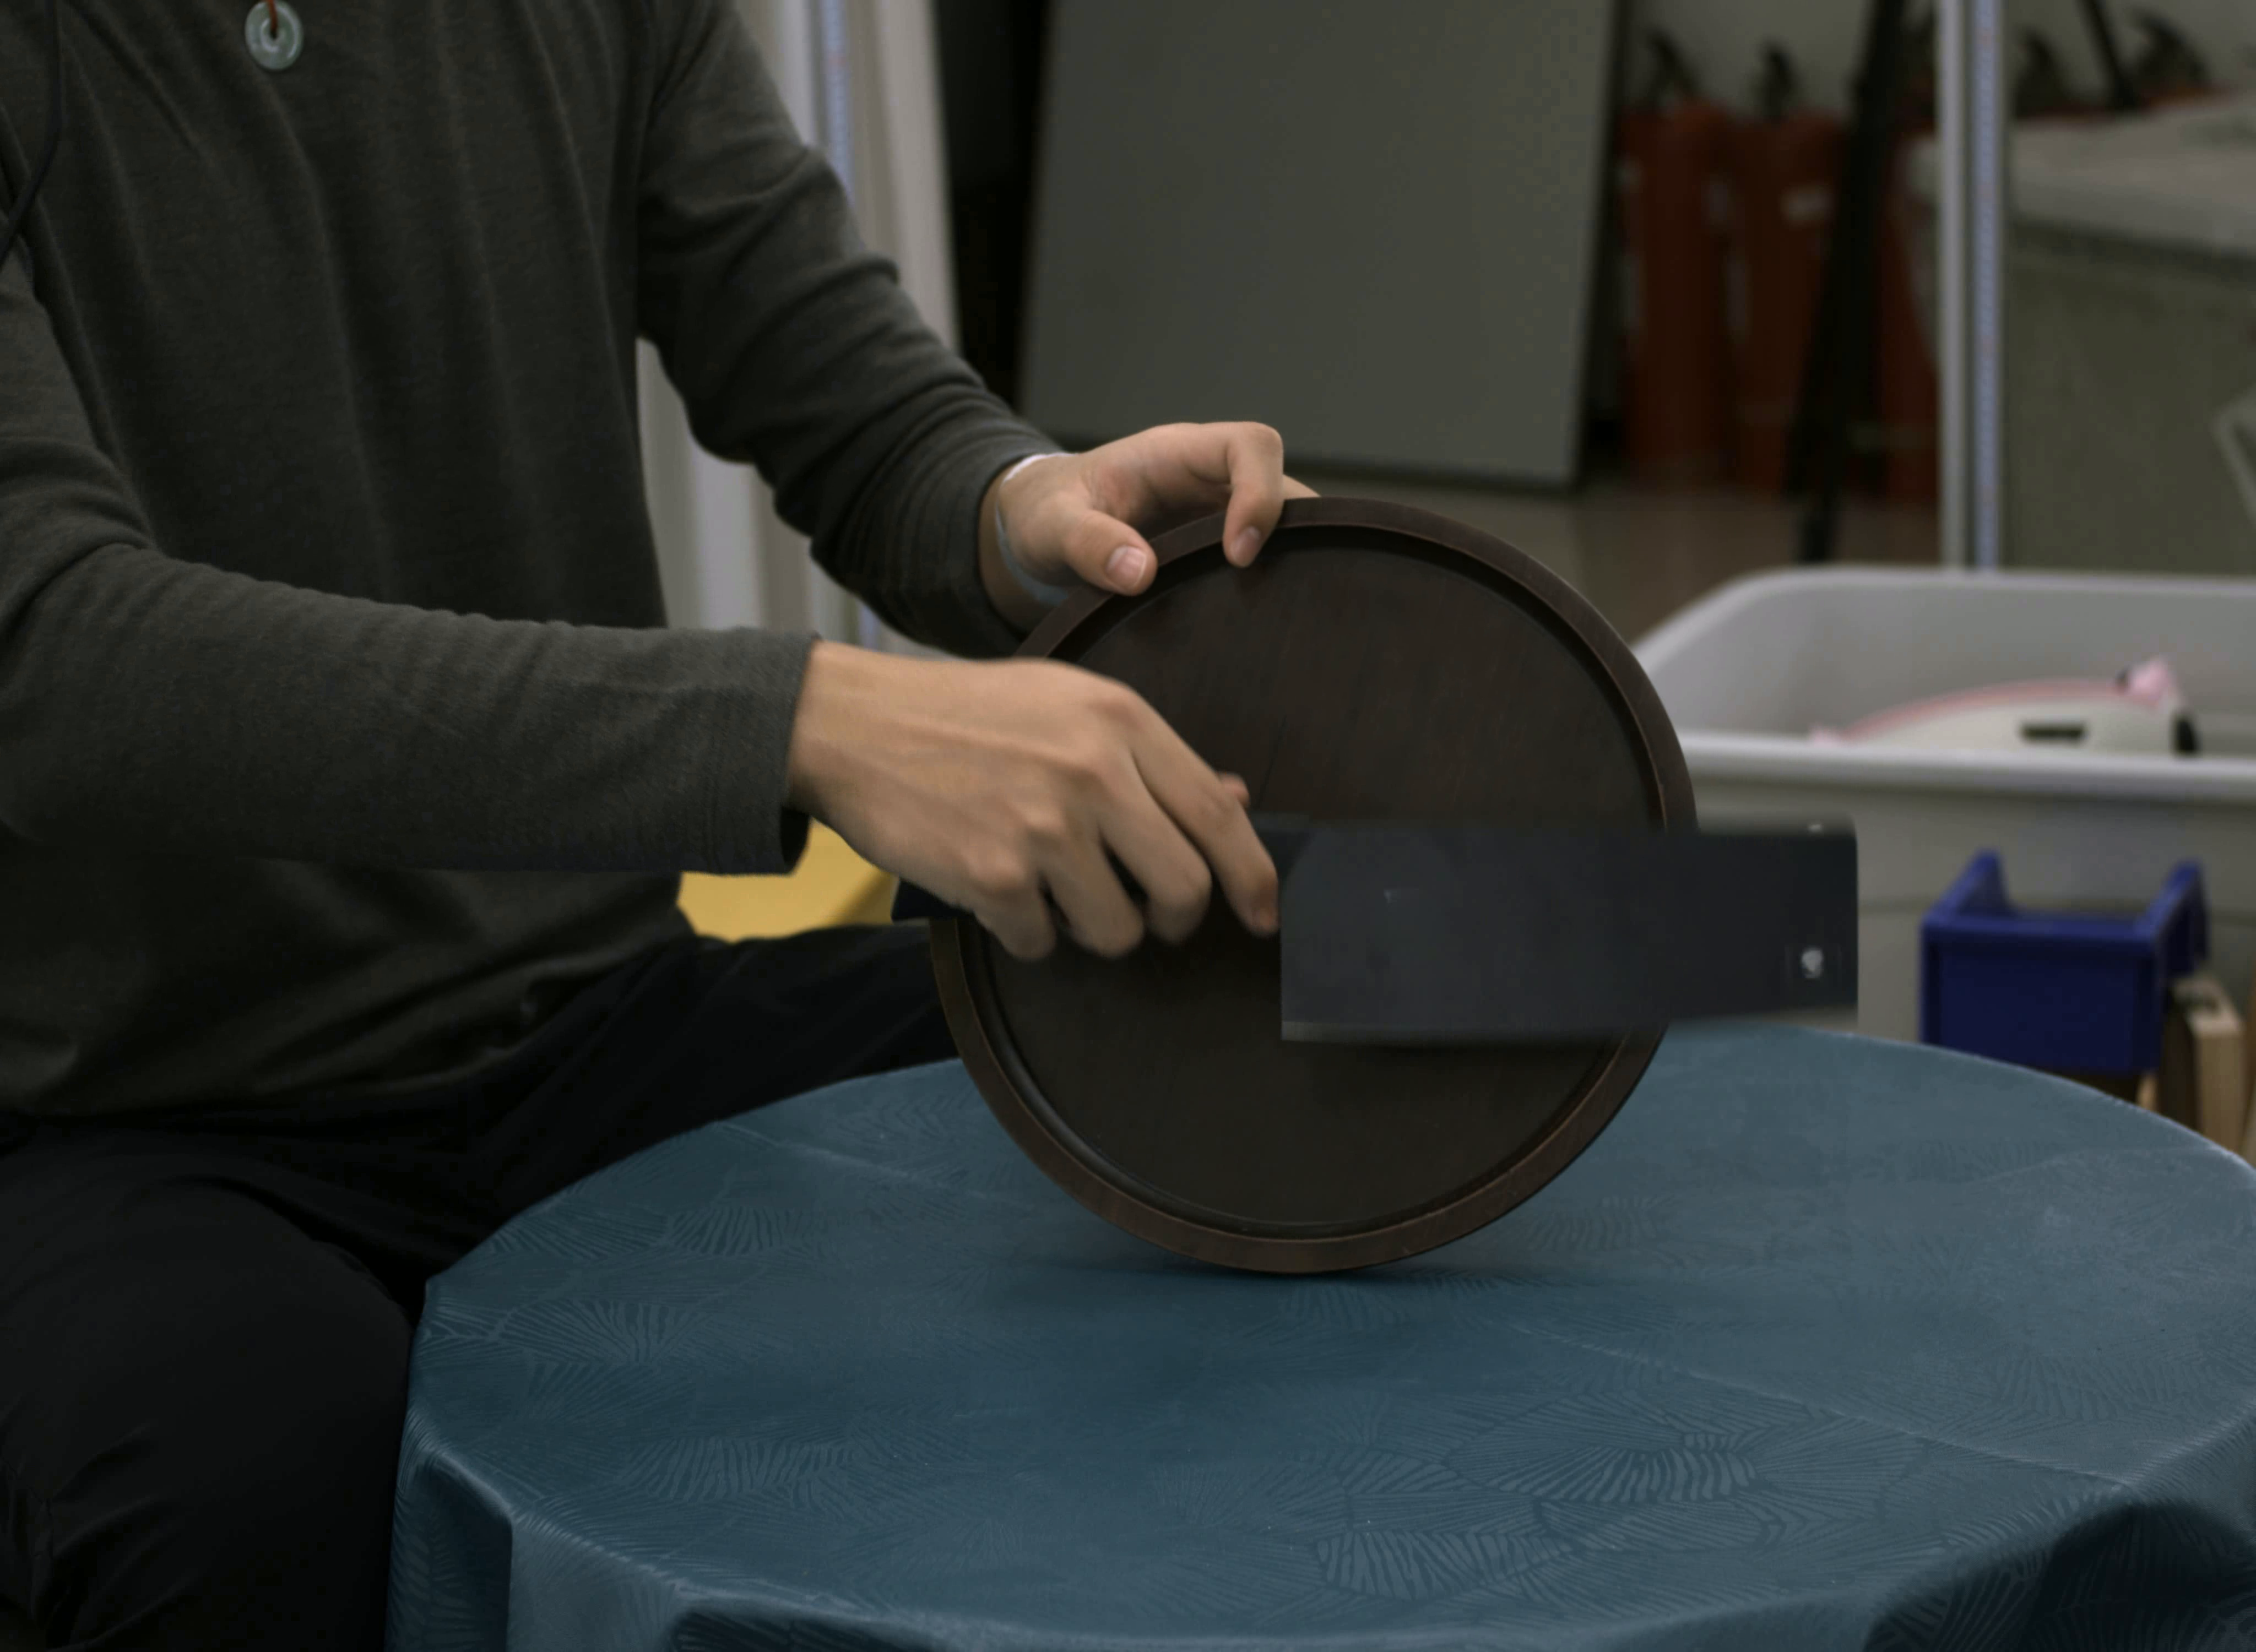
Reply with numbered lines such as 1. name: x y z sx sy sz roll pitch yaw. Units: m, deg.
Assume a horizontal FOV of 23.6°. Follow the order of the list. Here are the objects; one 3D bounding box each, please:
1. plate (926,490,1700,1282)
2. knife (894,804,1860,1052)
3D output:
1. plate: 0.058 0.018 1.709 0.254 0.258 0.029 0 -11 17
2. knife: 0.077 0.030 1.657 0.299 0.082 0.021 5 -7 3
